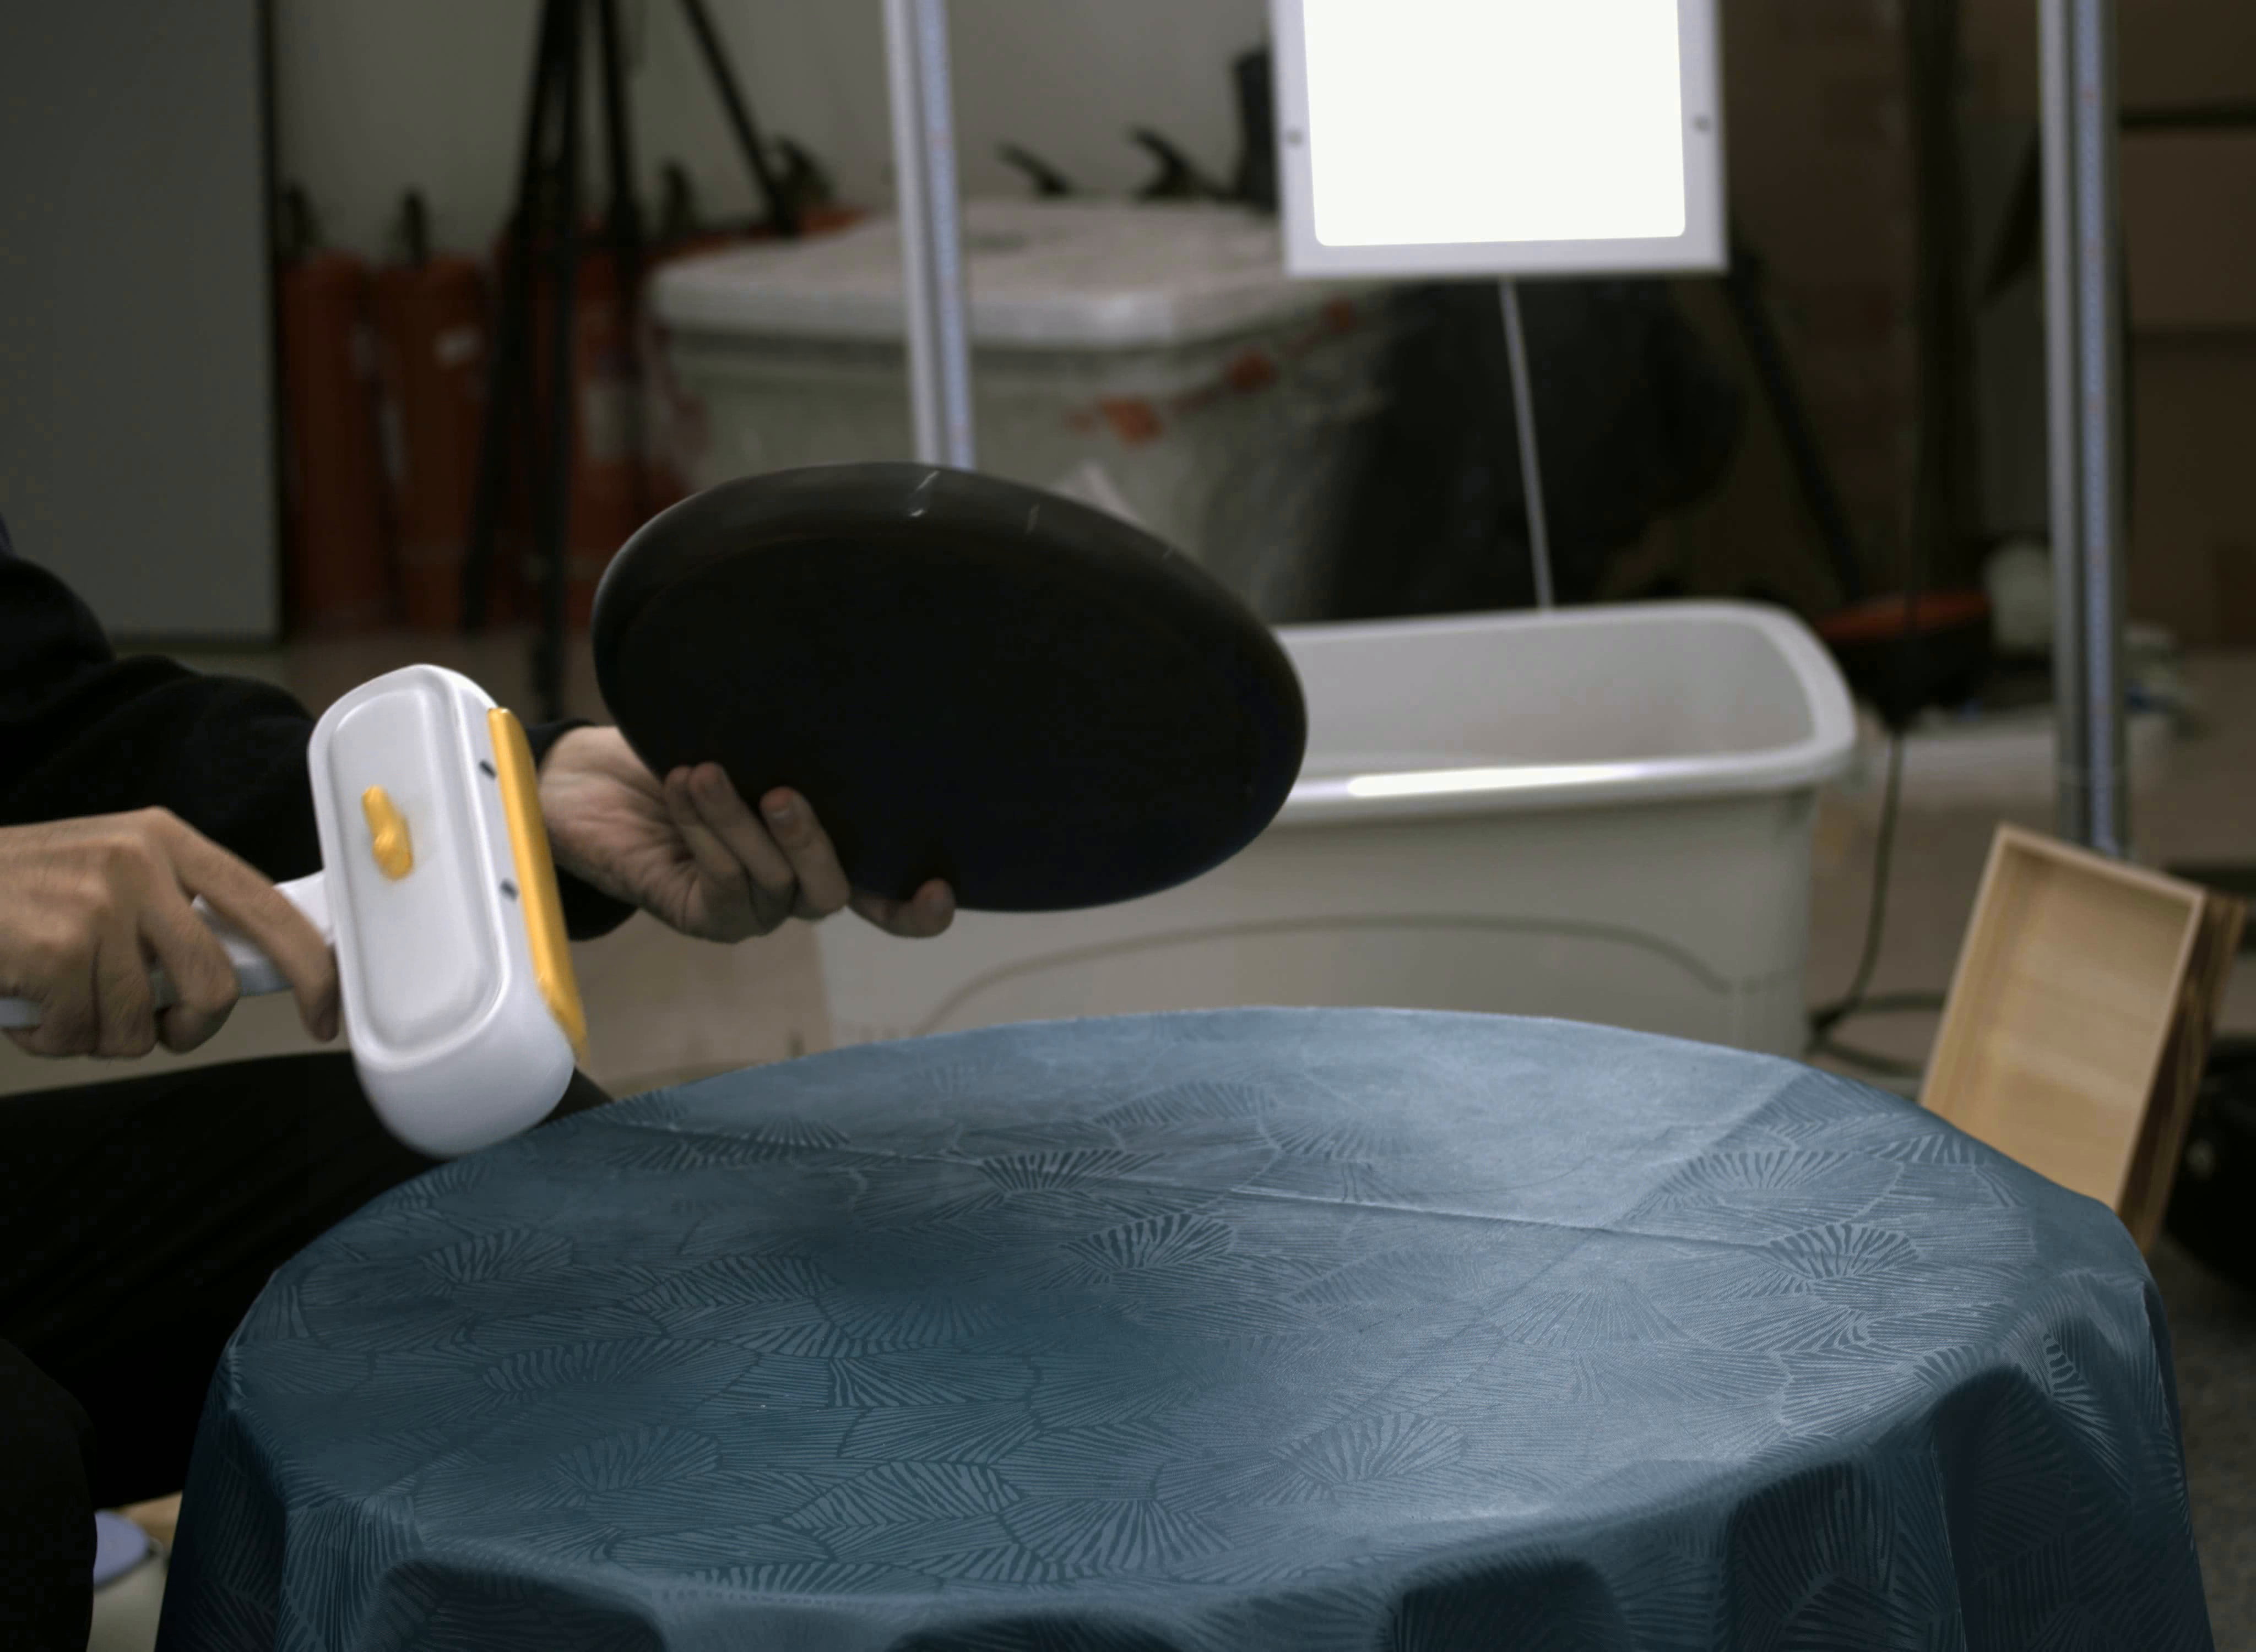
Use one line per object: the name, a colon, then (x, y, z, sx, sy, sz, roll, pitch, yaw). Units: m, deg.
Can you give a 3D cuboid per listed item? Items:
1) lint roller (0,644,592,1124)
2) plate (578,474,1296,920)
lint roller: (-0.280, 0.033, 1.792, 0.192, 0.074, 0.194, -22, 48, 0)
plate: (-0.067, -0.039, 1.902, 0.257, 0.253, 0.029, 0, 56, 17)
